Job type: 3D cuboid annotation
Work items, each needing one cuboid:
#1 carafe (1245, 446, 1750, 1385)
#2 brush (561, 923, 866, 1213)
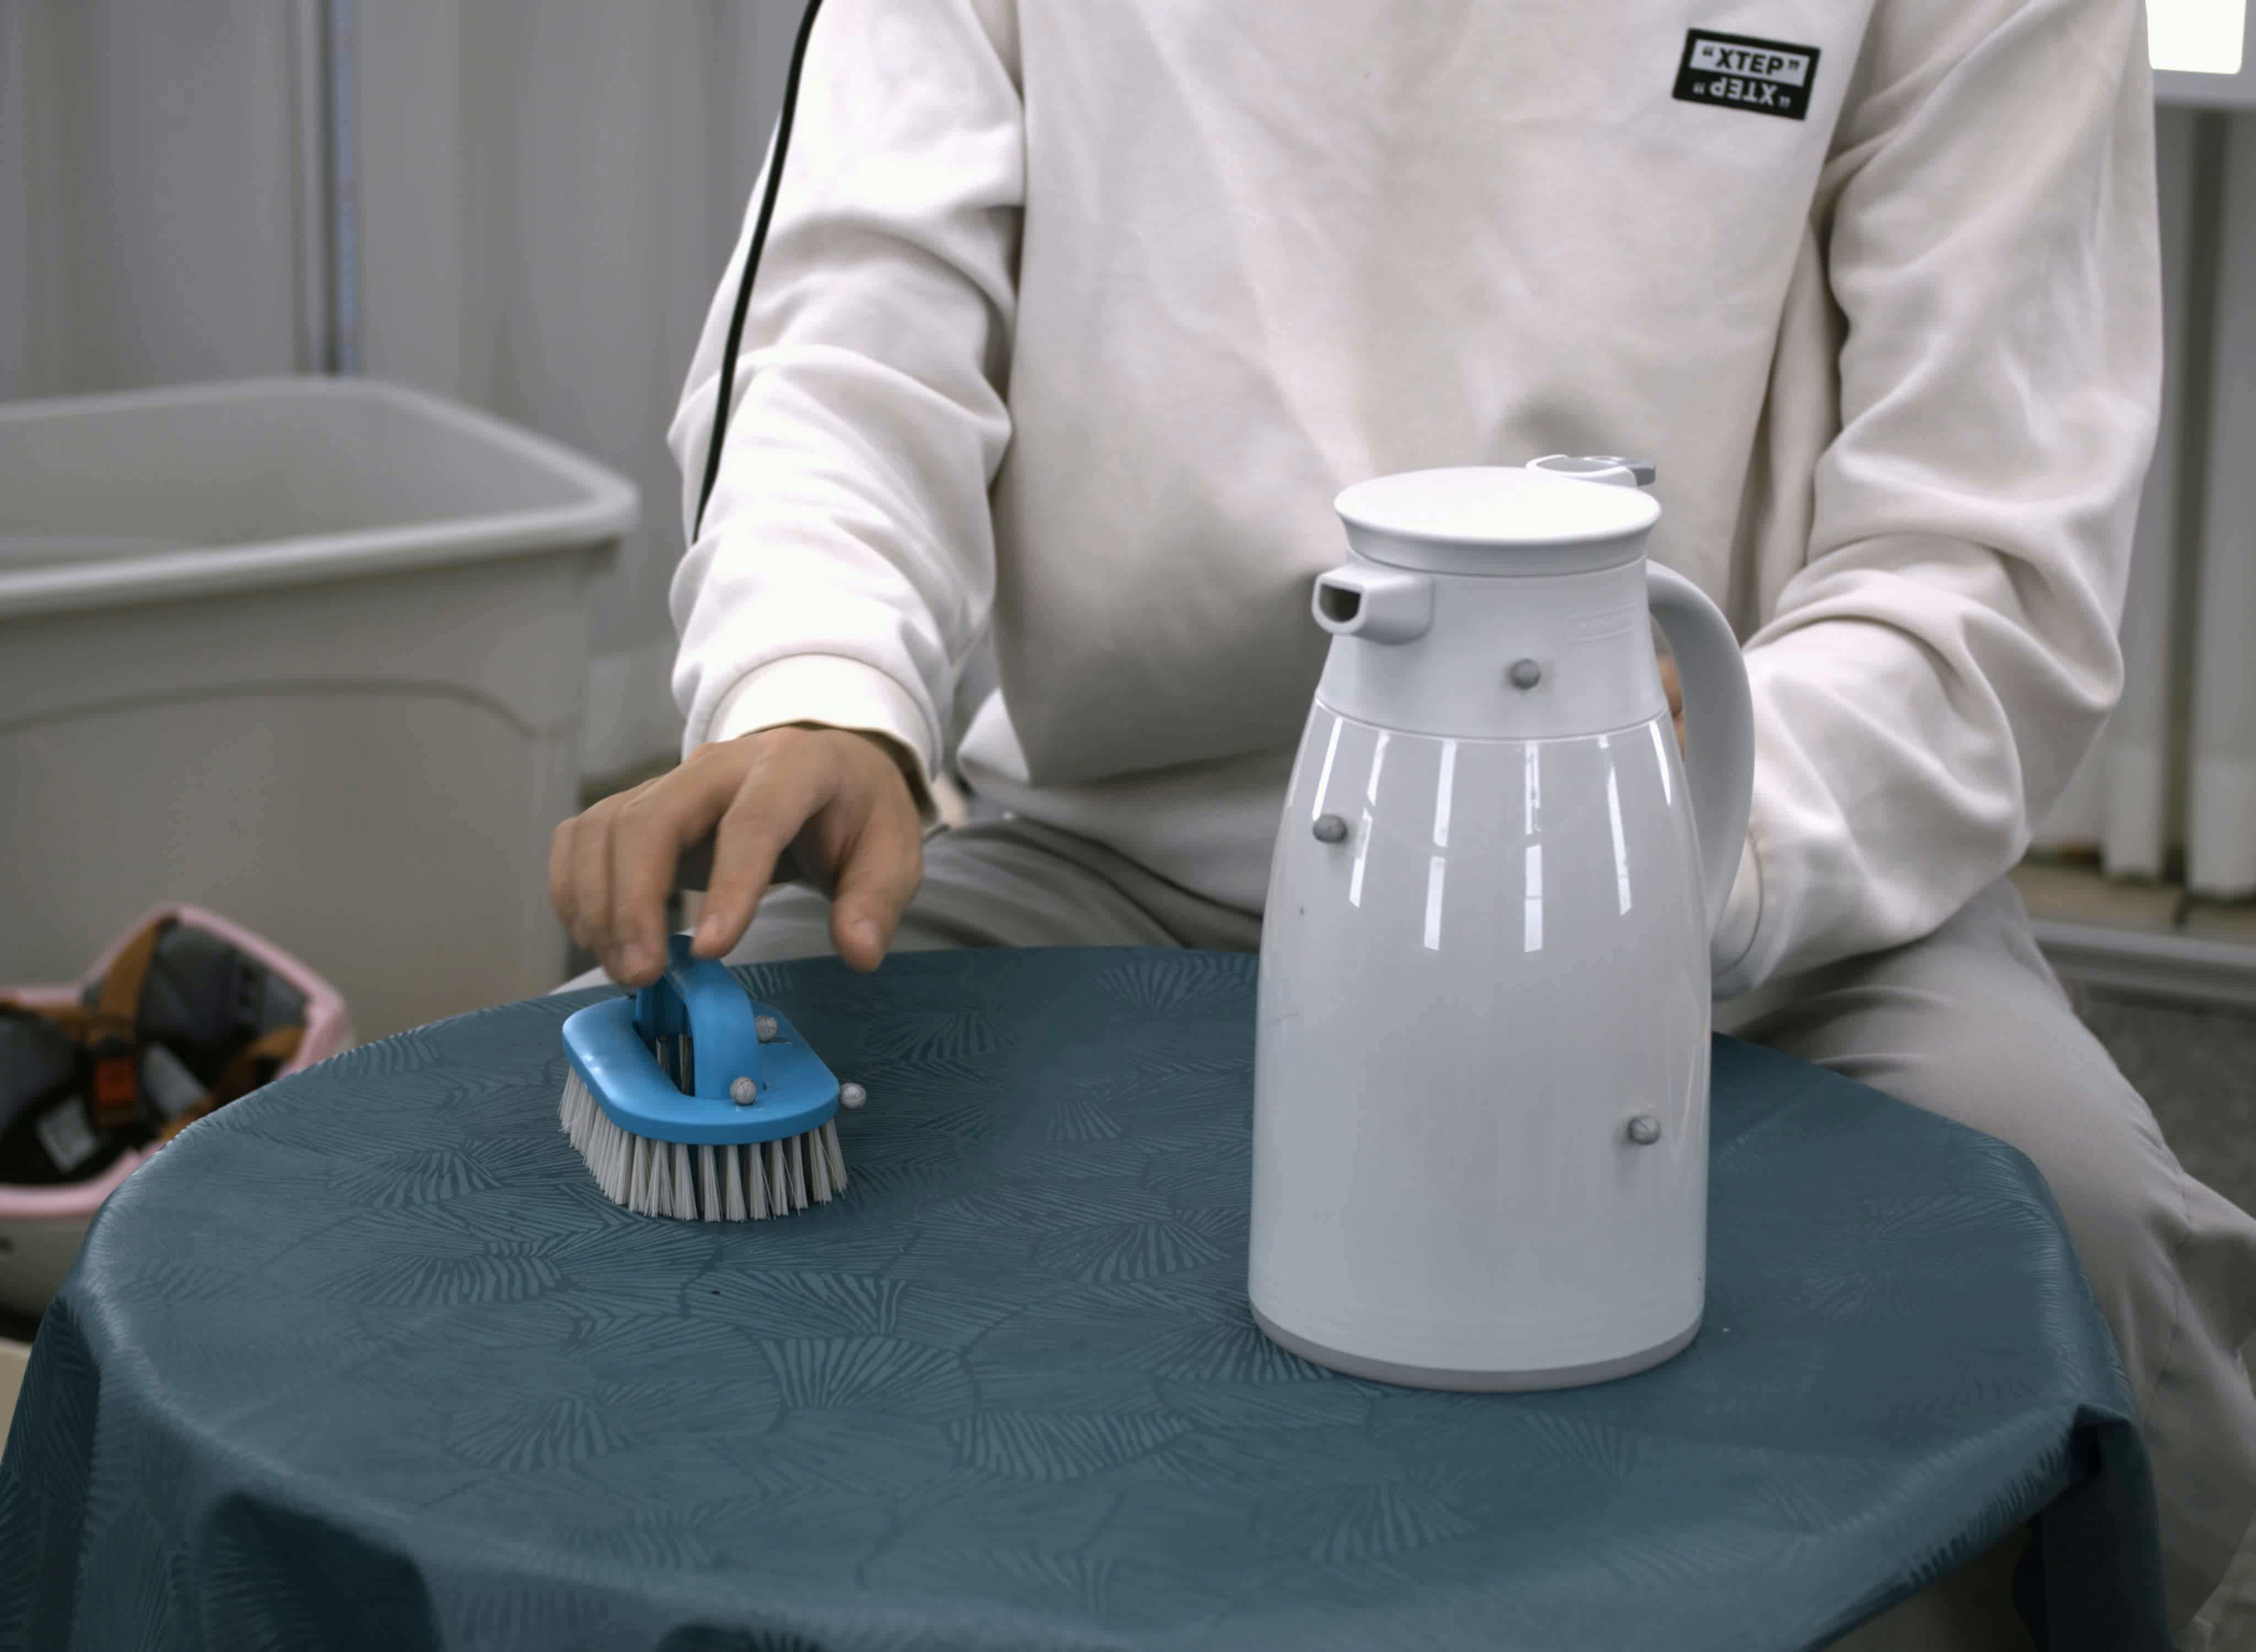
[{"bbox_3d":[0.115,0.017,1.511,0.168,0.250,0.131,-14,21,-43],"label":"carafe"},{"bbox_3d":[-0.133,0.069,1.651,0.084,0.064,0.140,-8,18,-13],"label":"brush"}]
